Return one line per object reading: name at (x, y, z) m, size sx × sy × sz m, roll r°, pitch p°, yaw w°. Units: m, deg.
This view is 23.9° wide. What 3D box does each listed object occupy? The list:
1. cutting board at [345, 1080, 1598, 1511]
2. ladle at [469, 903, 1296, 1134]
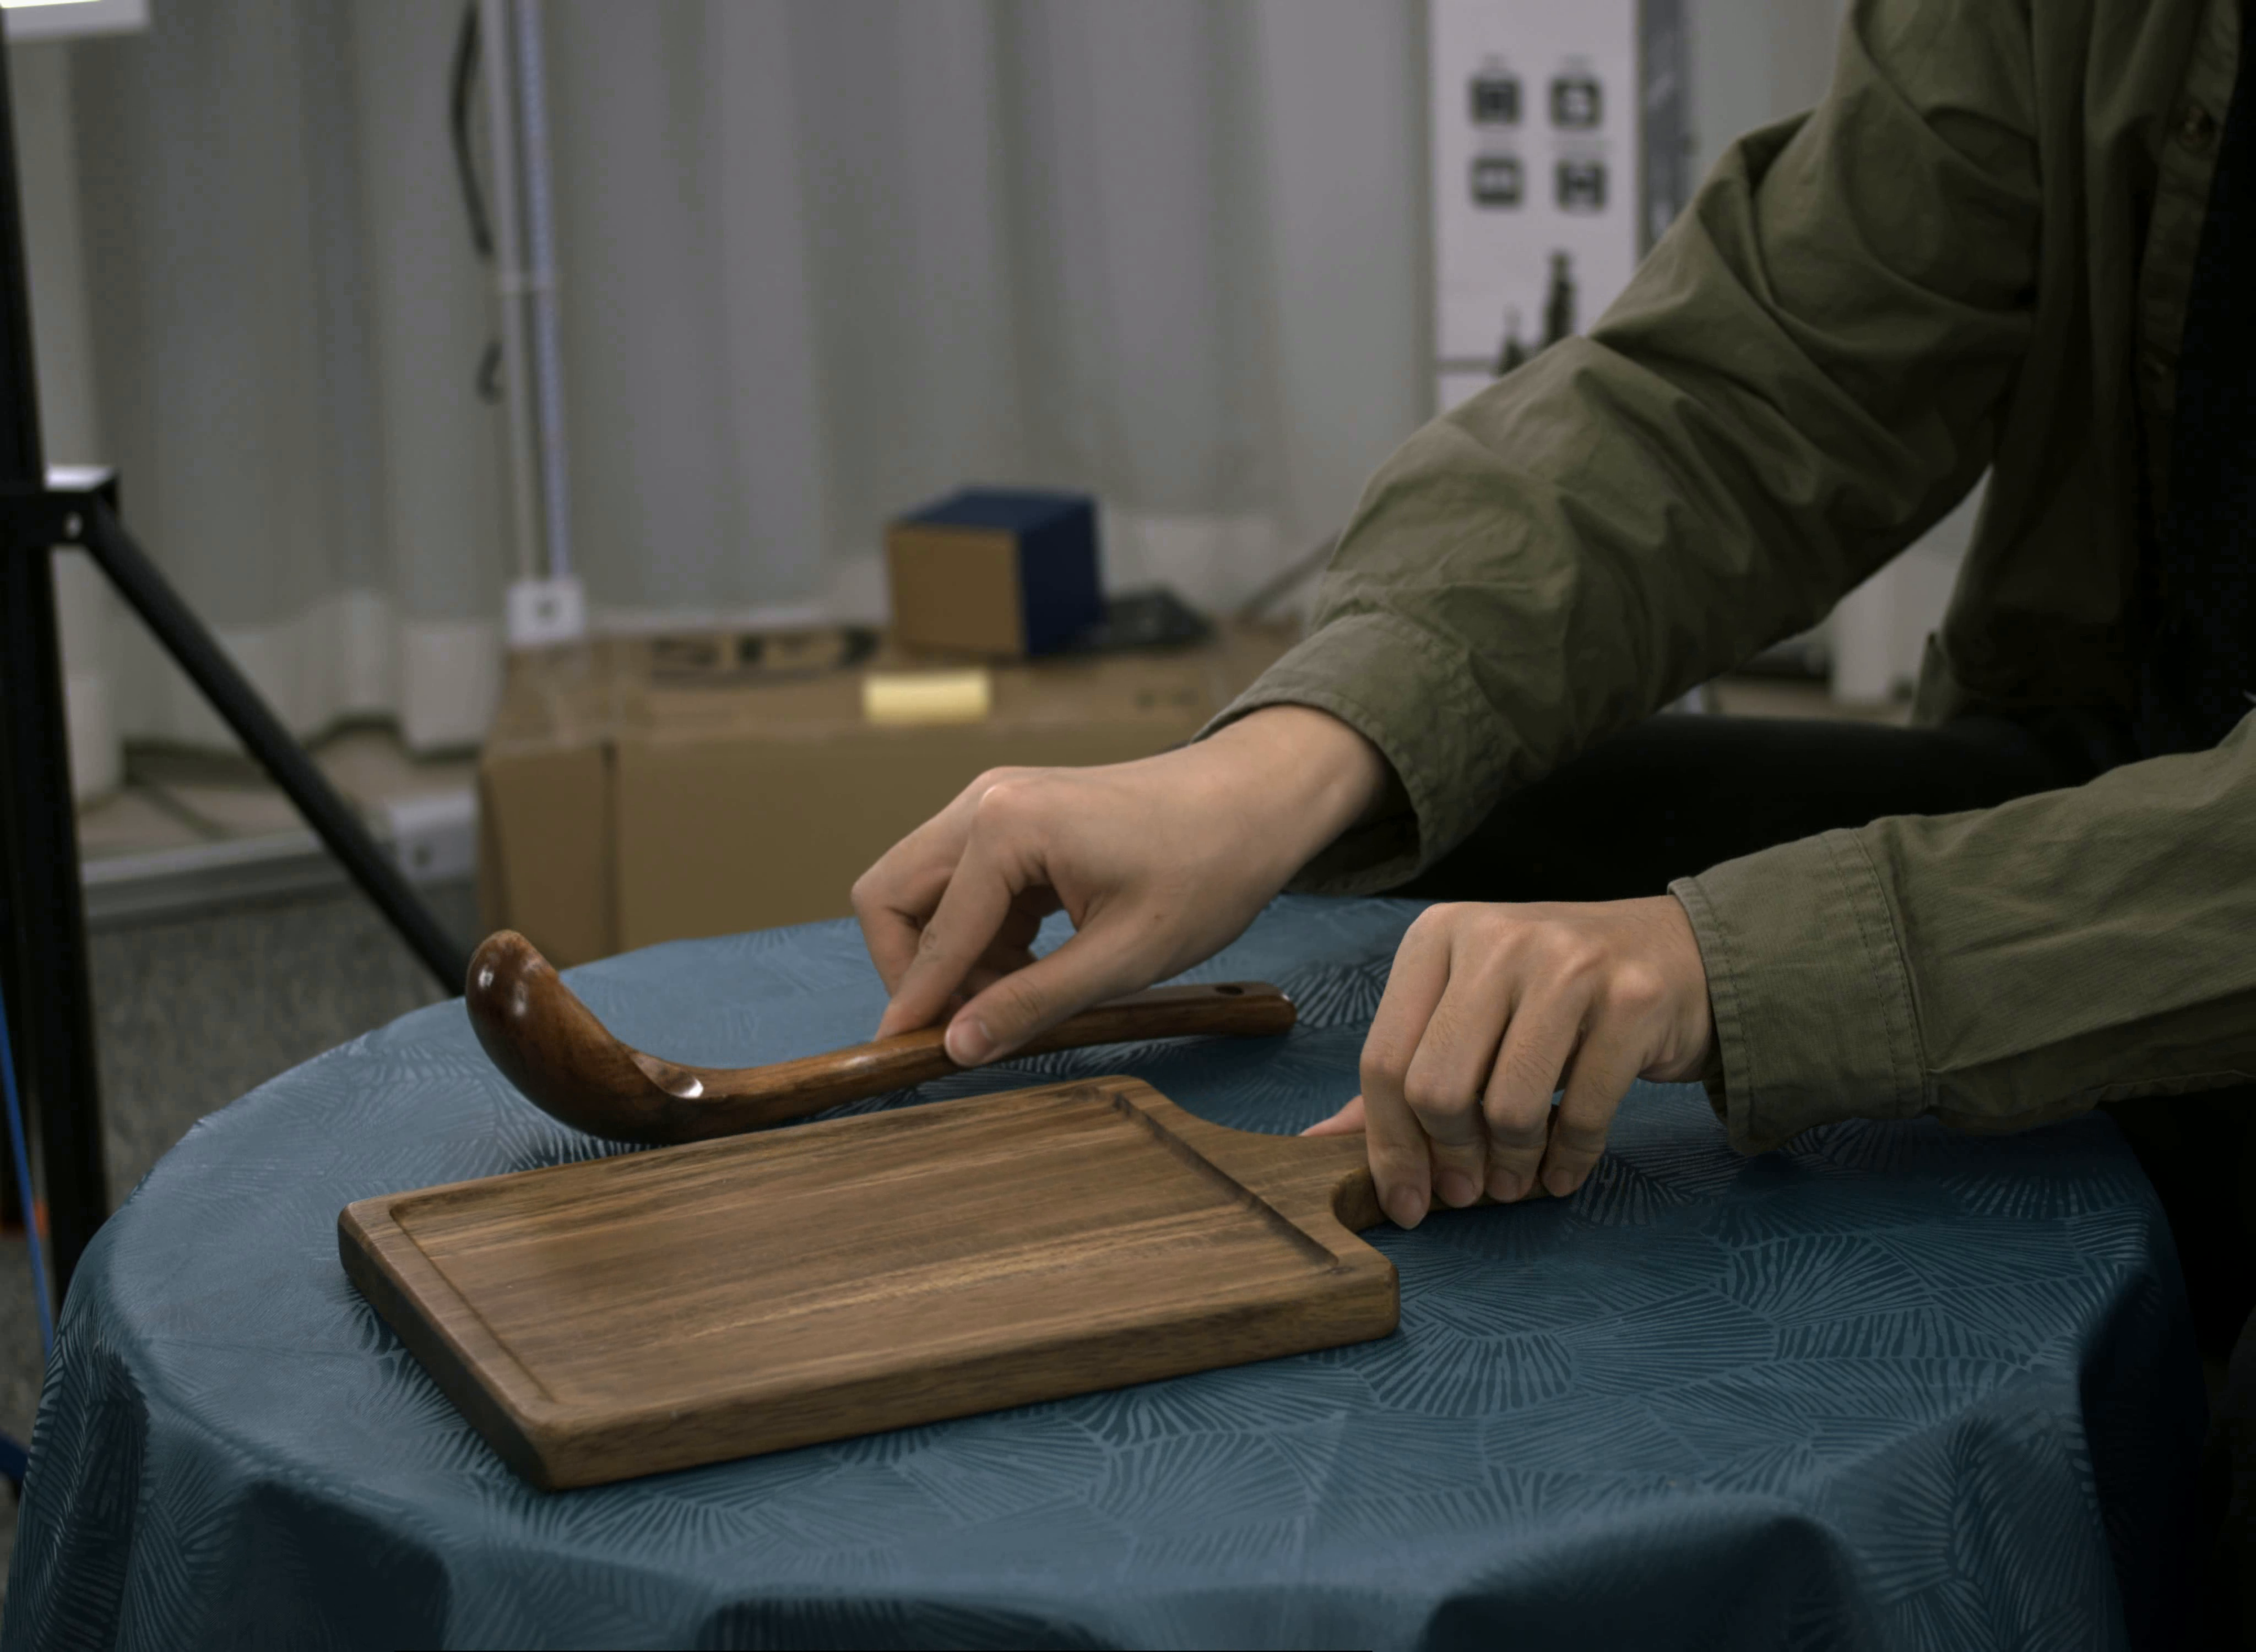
cutting board at (-0.027, 0.119, 1.488) m, size 0.346 × 0.023 × 0.204 m, roll -8°, pitch 17°, yaw -18°
ladle at (-0.072, 0.046, 1.650) m, size 0.268 × 0.076 × 0.083 m, roll -8°, pitch 24°, yaw -22°
